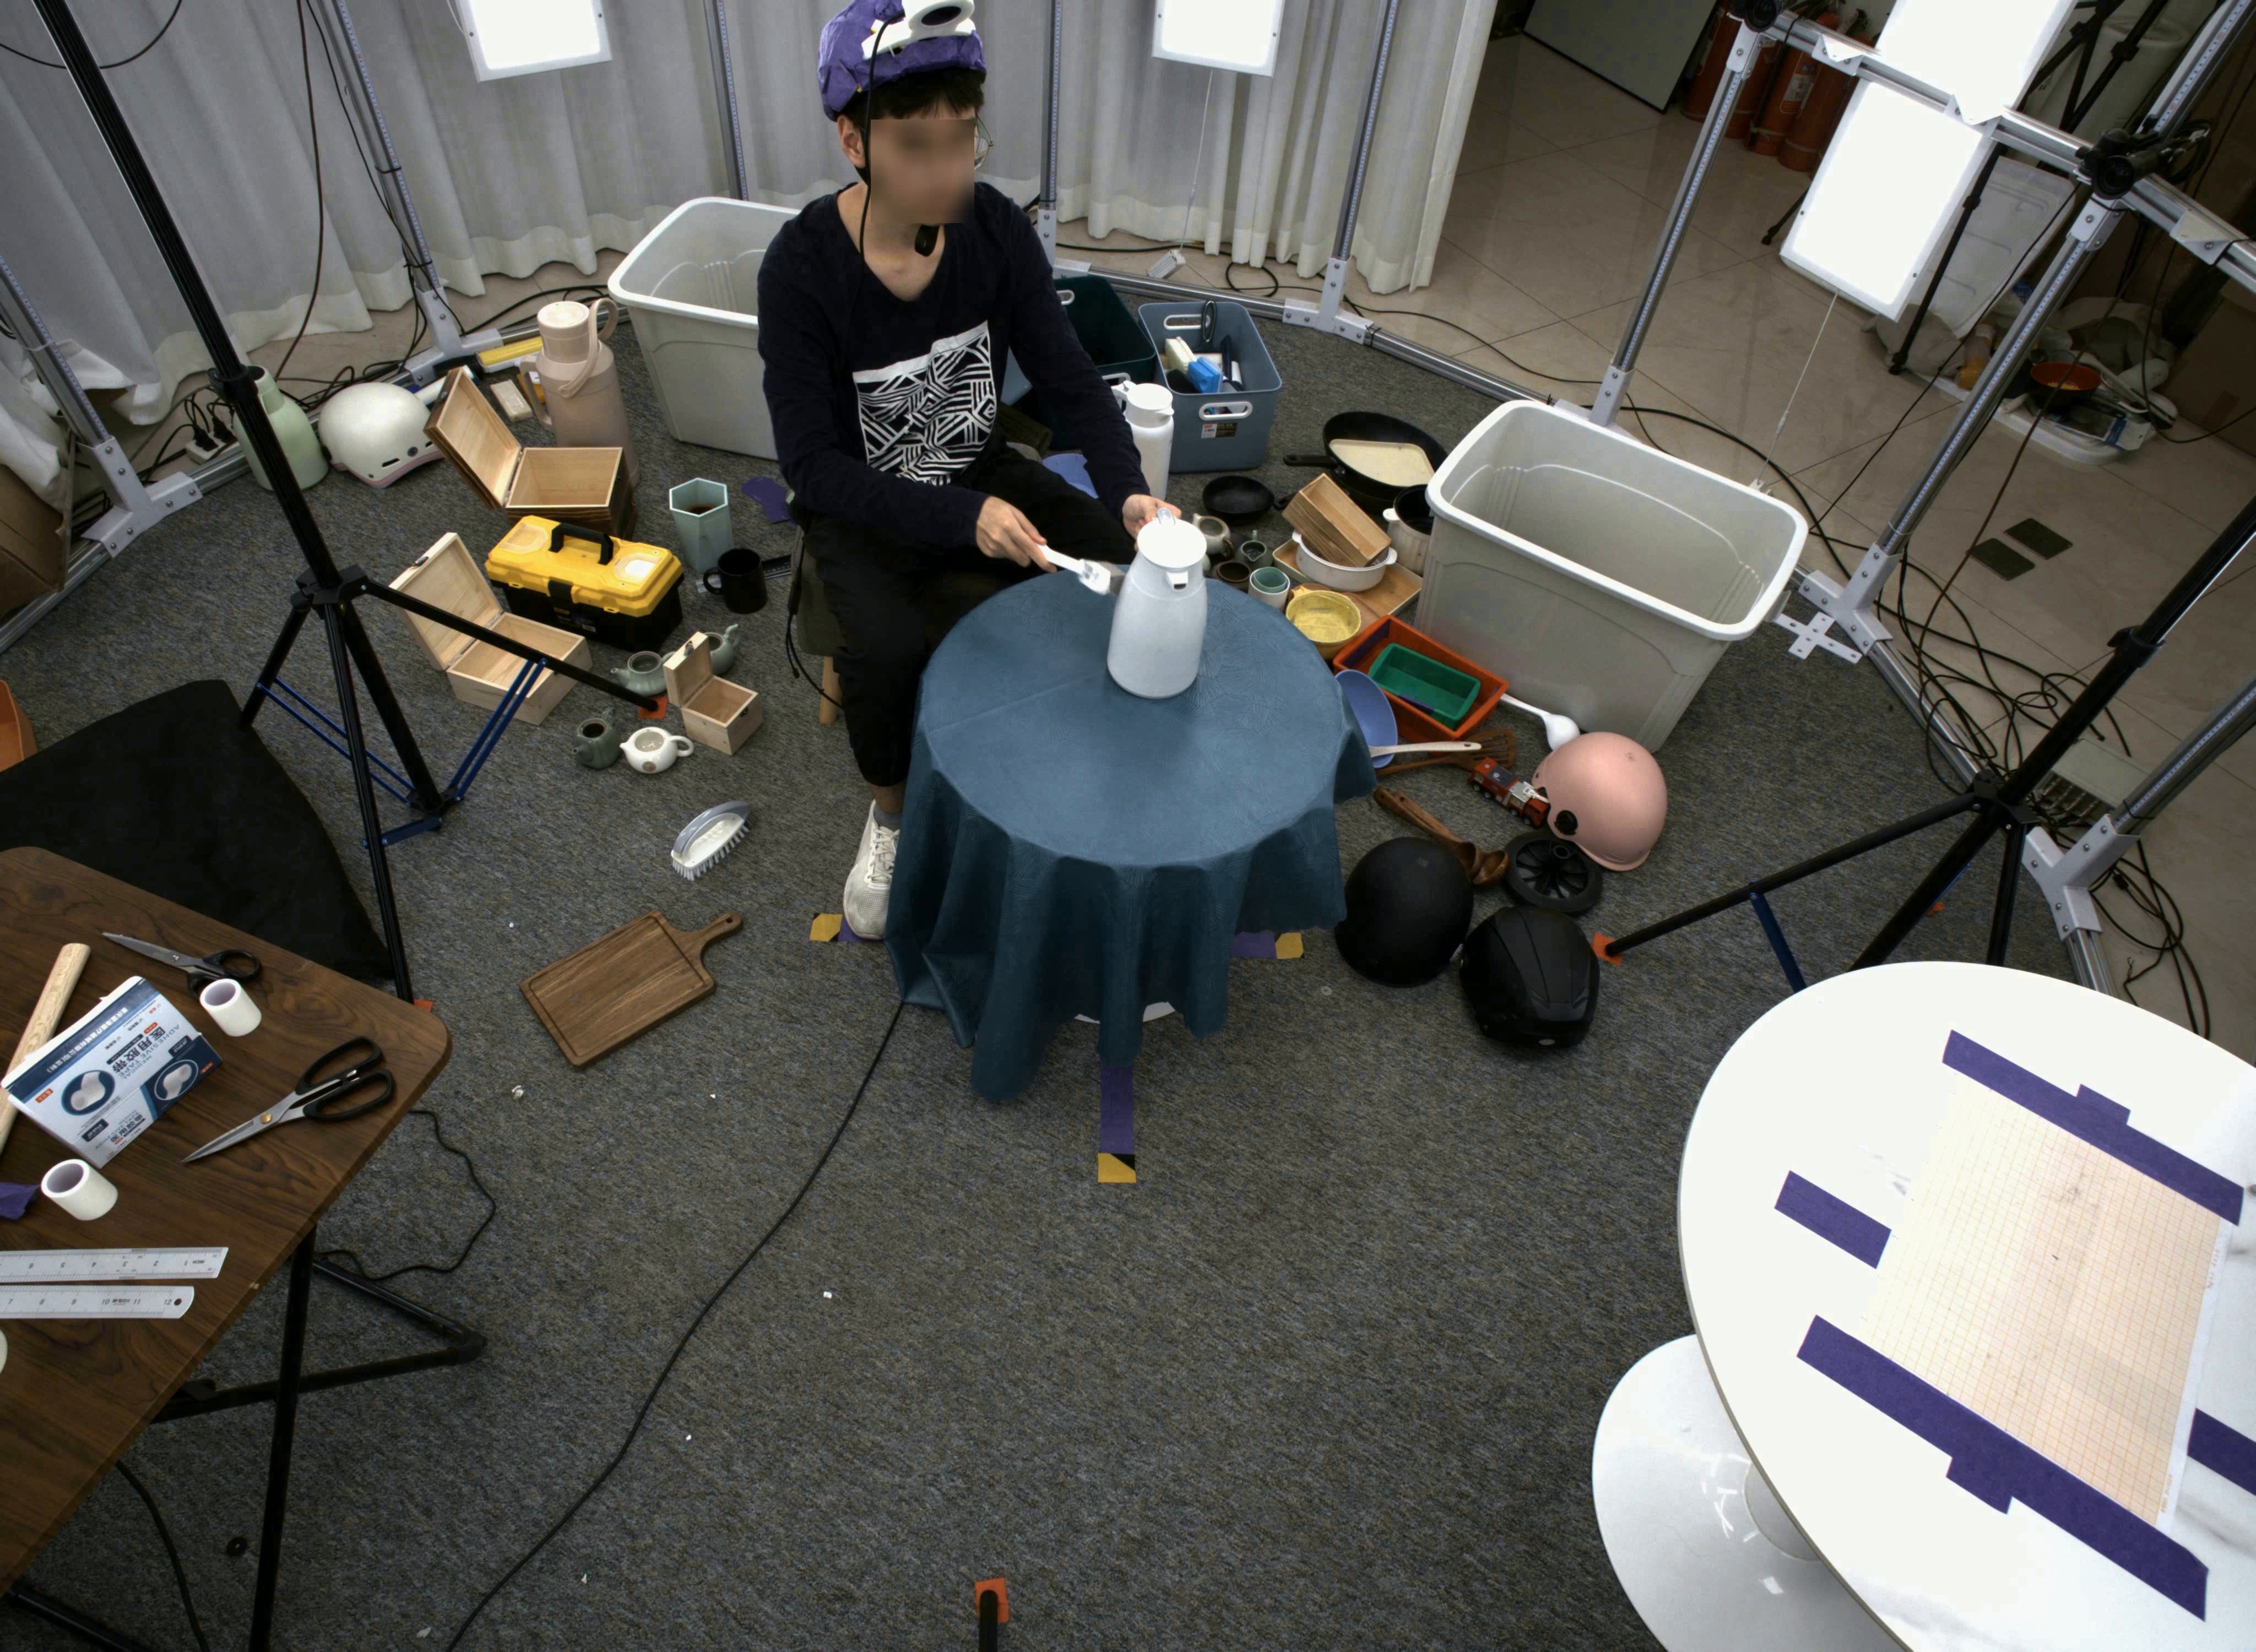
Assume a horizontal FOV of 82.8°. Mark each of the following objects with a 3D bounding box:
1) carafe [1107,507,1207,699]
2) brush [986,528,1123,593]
[{"bbox_3d":[0.041,-0.320,1.779,0.132,0.243,0.172,-8,55,-11],"label":"carafe"},{"bbox_3d":[-0.102,-0.377,1.813,0.247,0.034,0.050,28,28,34],"label":"brush"}]
